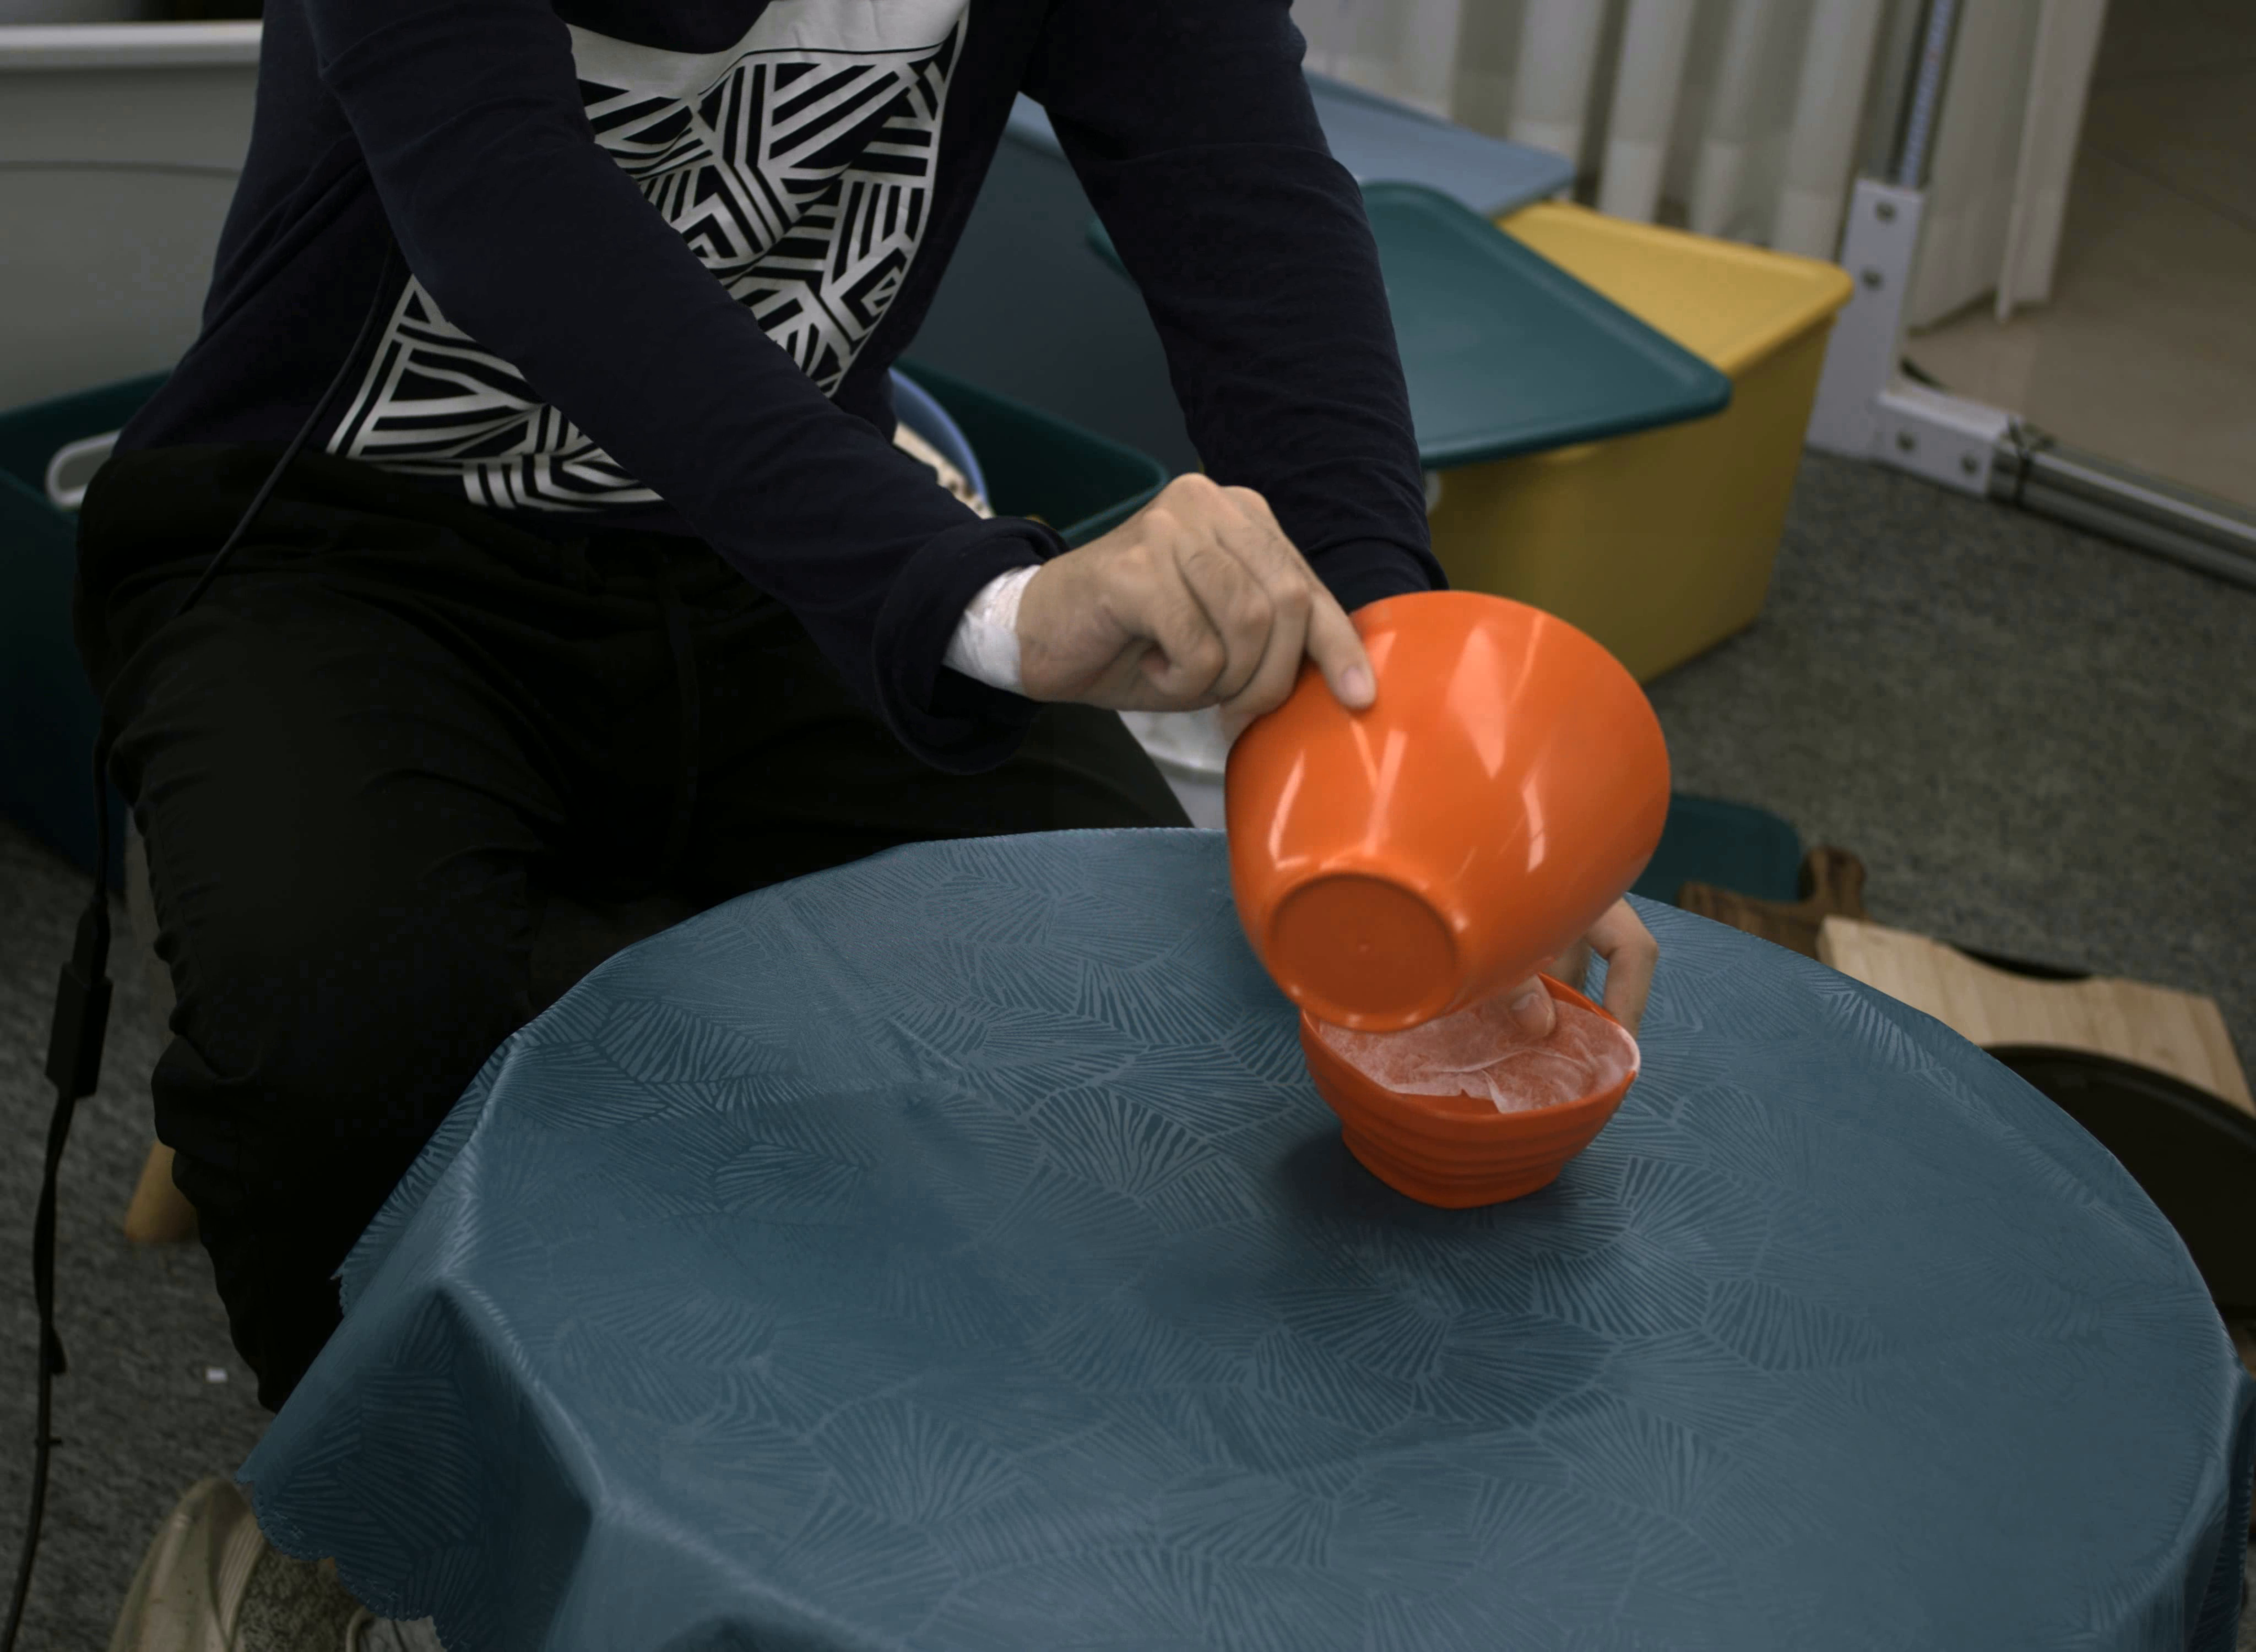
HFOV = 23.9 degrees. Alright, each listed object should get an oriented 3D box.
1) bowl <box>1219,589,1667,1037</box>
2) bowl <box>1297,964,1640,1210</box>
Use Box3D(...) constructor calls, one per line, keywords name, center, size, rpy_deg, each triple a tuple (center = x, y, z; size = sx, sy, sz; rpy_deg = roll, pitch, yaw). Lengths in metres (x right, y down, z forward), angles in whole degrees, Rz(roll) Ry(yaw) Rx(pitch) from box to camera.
Box3D(name="bowl", center=(0.094, 0.009, 1.735), size=(0.148, 0.147, 0.105), rpy_deg=(12, 40, 9))
Box3D(name="bowl", center=(0.115, 0.092, 1.839), size=(0.118, 0.051, 0.119), rpy_deg=(4, 28, -2))
